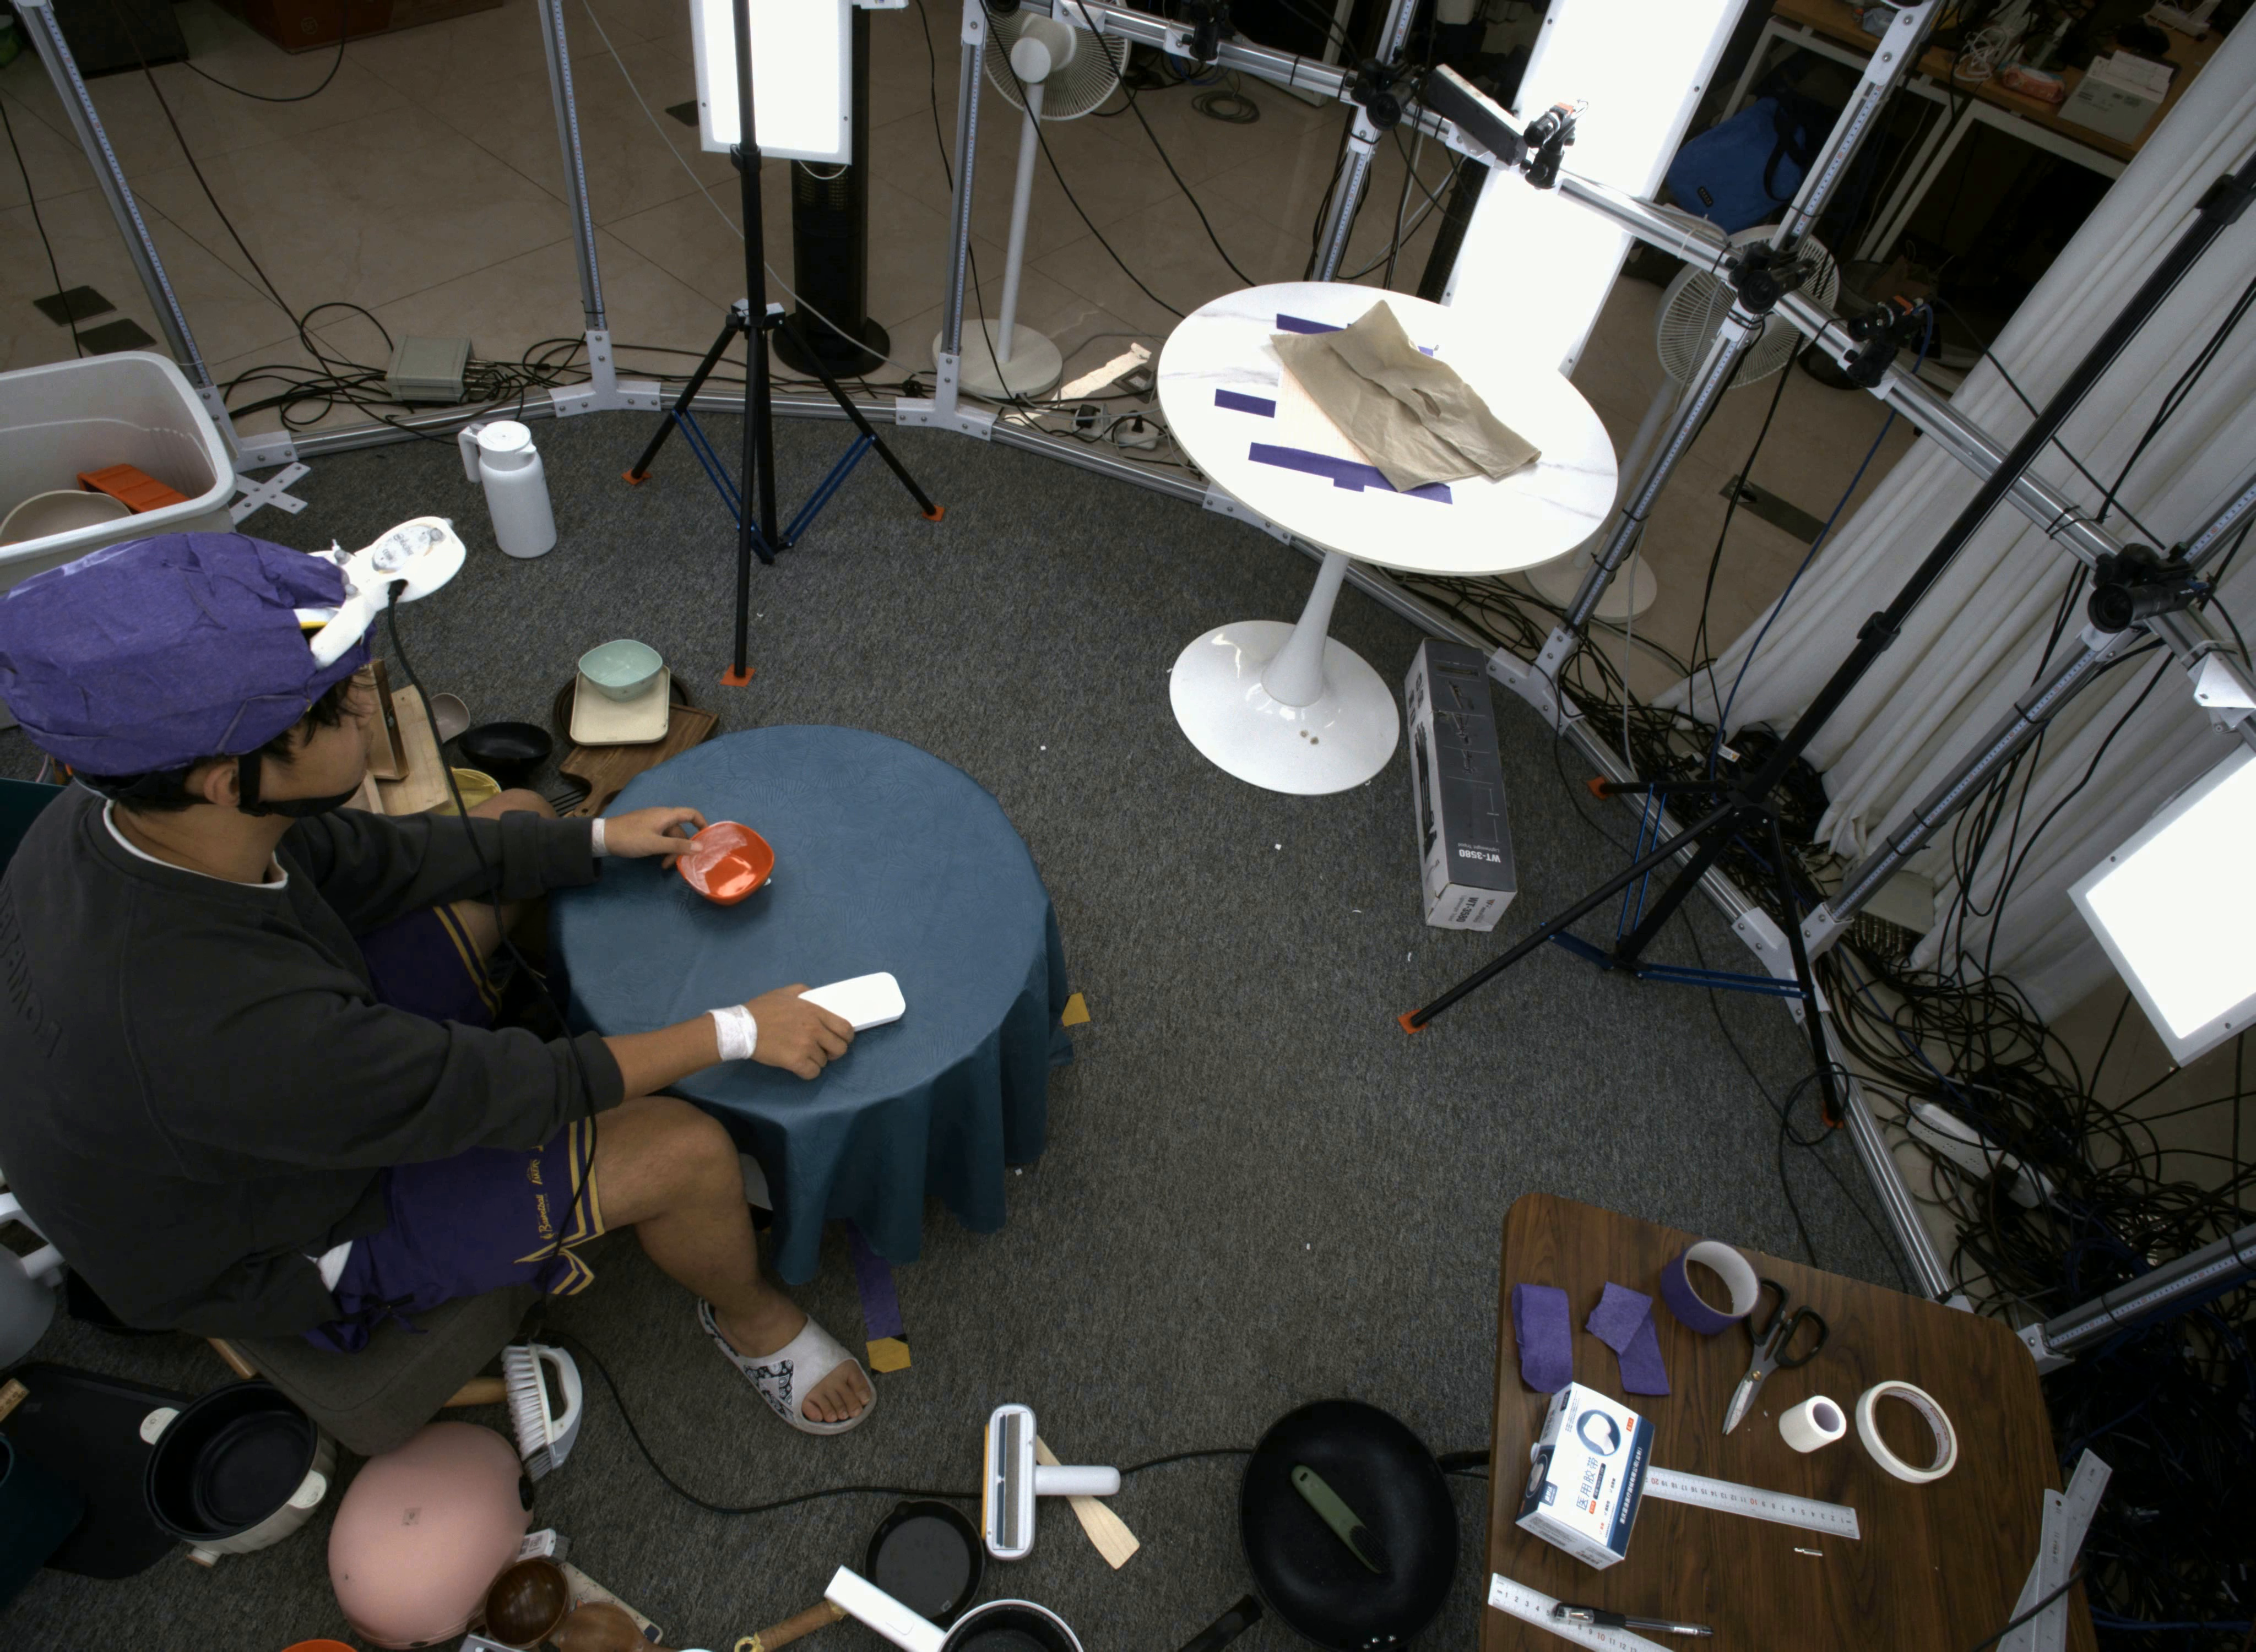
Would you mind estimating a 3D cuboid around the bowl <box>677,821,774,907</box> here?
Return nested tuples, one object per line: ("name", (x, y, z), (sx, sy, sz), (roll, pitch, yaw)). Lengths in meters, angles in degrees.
("bowl", (-0.507, 0.055, 1.634), (0.119, 0.052, 0.117), (8, 53, -9))

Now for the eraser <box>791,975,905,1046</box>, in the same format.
("eraser", (-0.337, 0.217, 1.563), (0.132, 0.035, 0.062), (-12, 59, -28))
